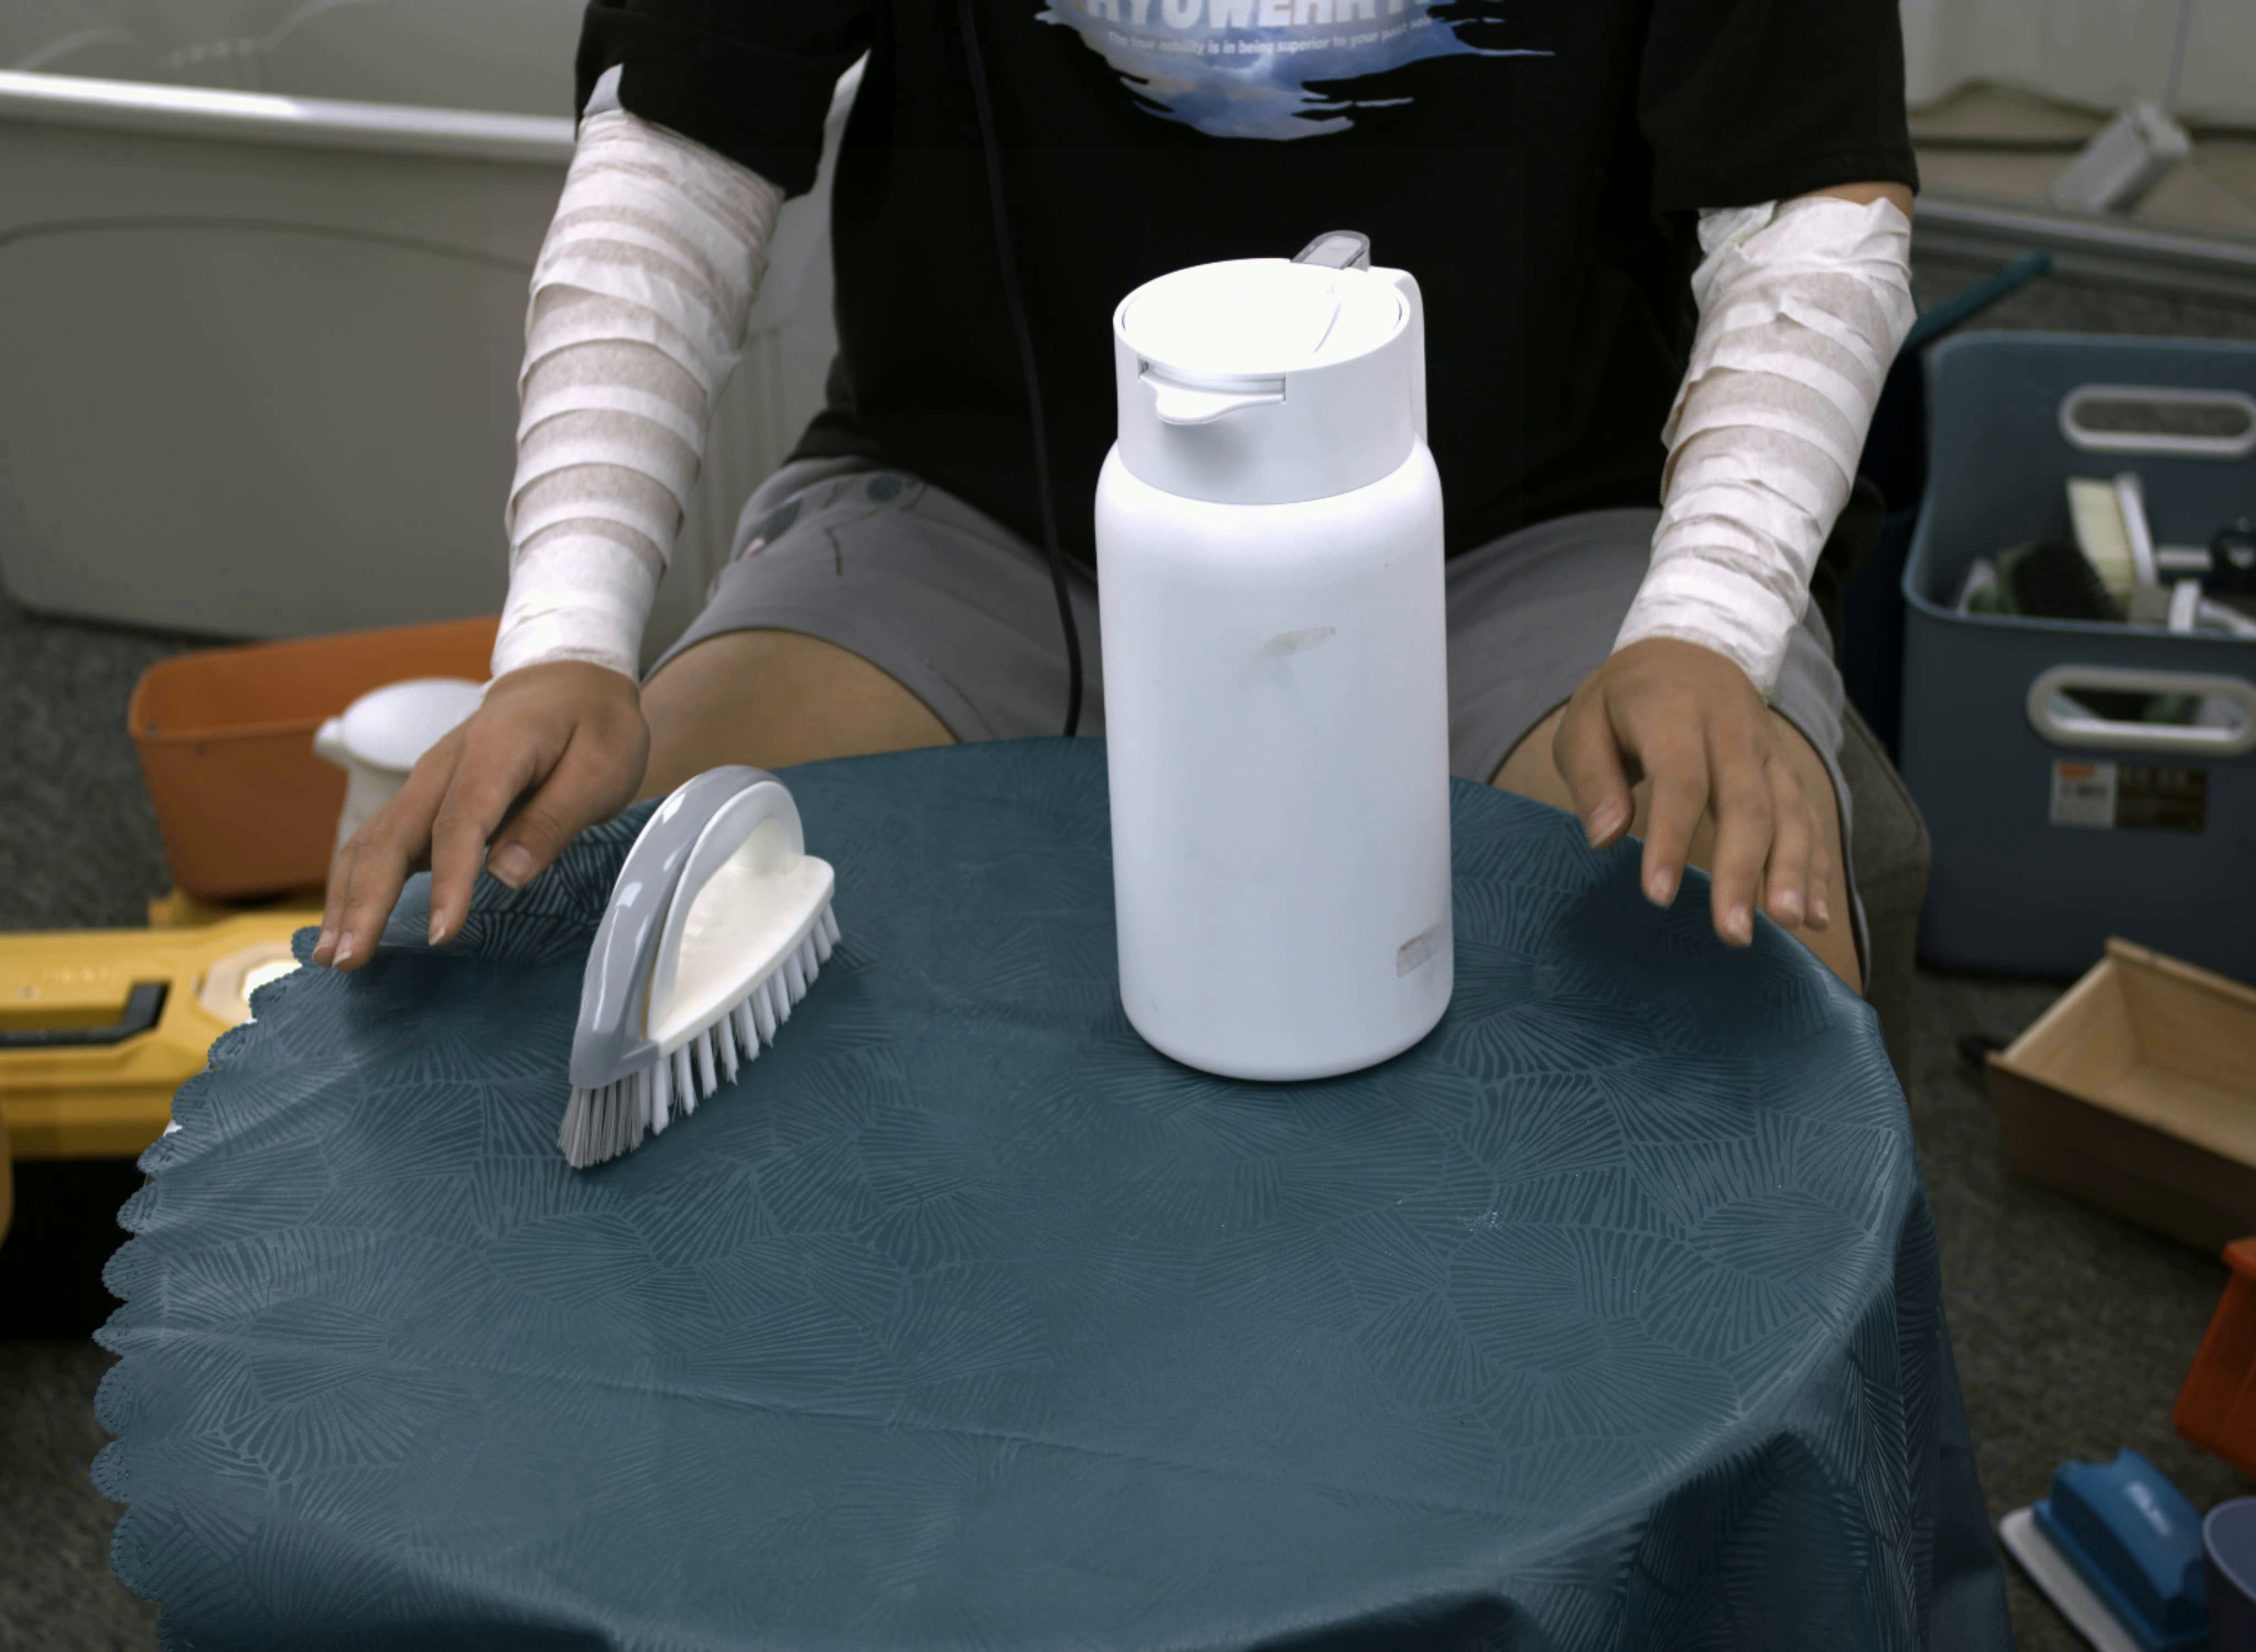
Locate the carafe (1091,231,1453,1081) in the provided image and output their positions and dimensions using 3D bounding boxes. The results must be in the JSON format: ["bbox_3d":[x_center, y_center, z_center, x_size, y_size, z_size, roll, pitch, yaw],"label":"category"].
[{"bbox_3d":[0.055,-0.062,1.924,0.123,0.266,0.176,6,27,23],"label":"carafe"}]

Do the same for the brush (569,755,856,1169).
[{"bbox_3d":[-0.153,0.039,1.938,0.061,0.093,0.178,5,29,20],"label":"brush"}]
